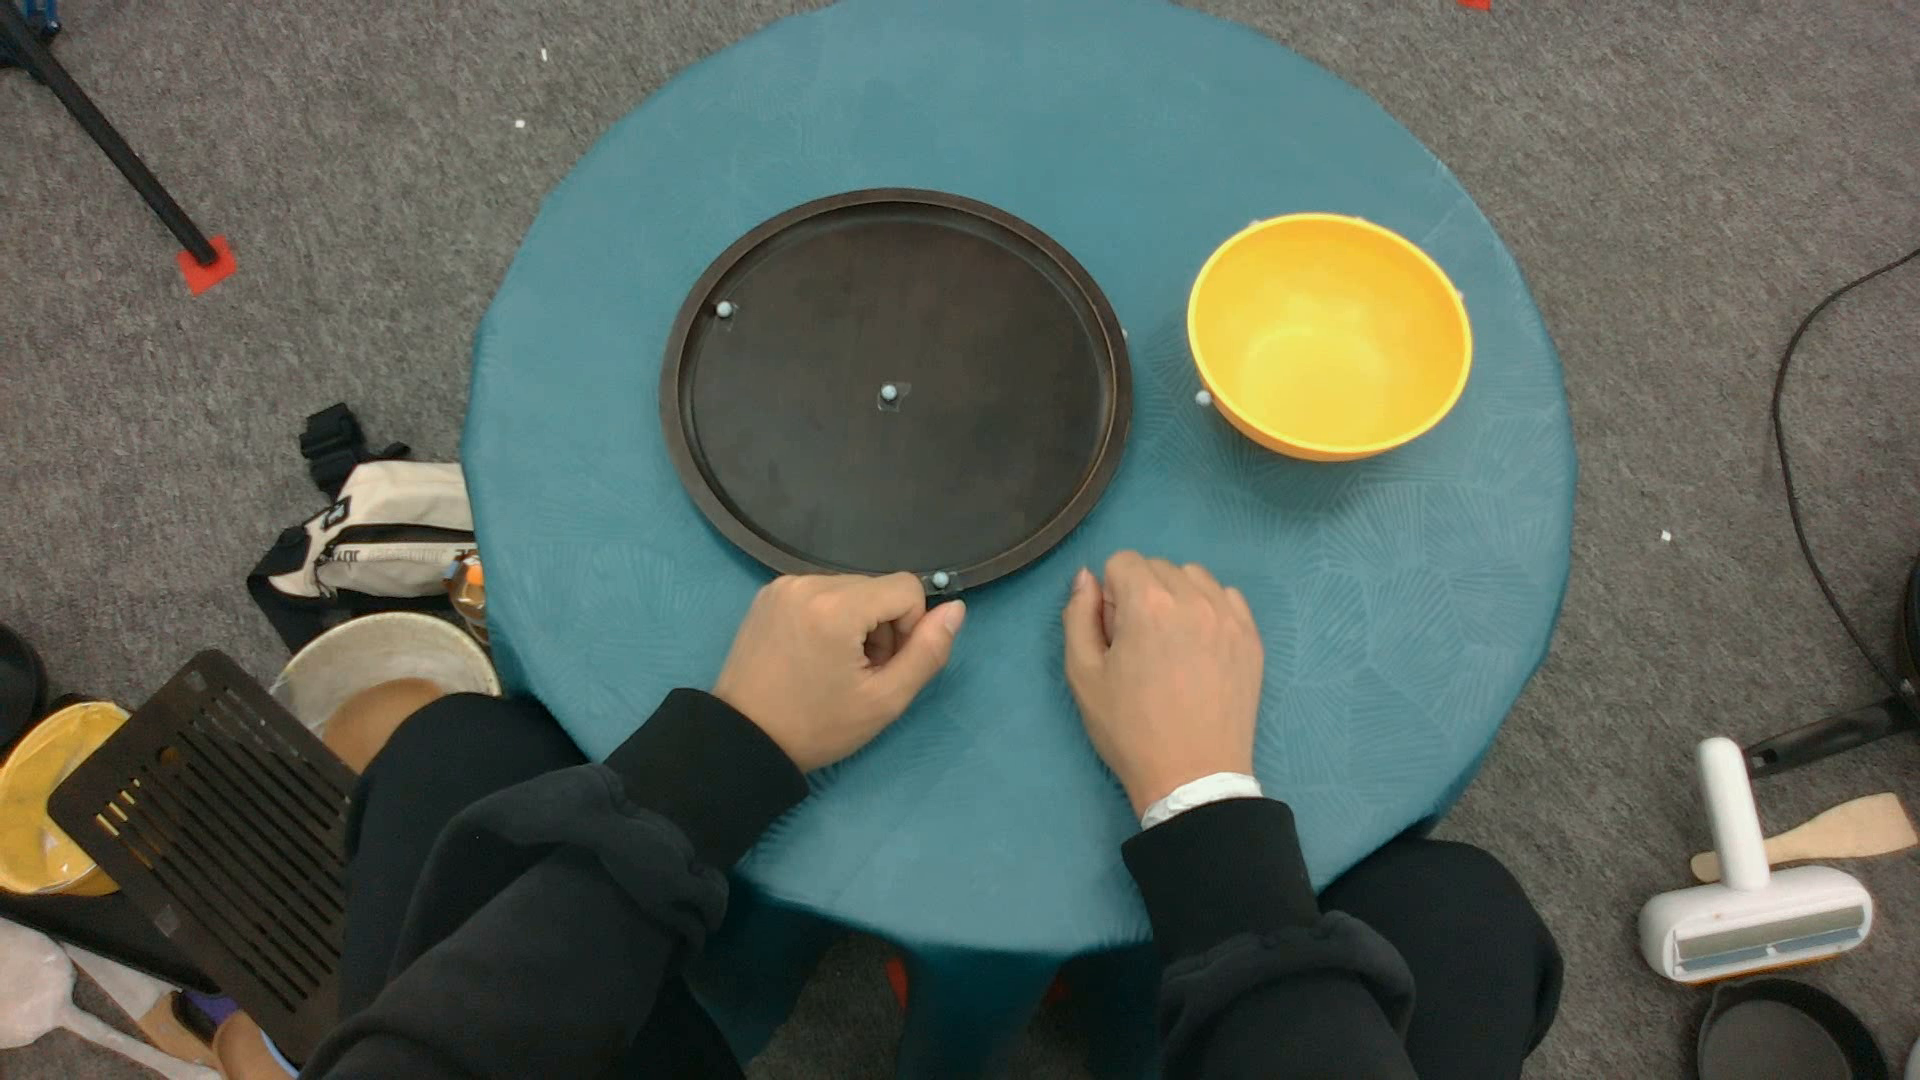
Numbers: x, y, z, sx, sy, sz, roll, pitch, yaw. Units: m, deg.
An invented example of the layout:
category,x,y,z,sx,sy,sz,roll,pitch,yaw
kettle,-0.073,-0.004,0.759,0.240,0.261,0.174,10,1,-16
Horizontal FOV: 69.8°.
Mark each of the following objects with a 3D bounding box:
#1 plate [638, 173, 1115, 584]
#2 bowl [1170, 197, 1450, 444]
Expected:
category,x,y,z,sx,sy,sz,roll,pitch,yaw
plate,-0.044,-0.092,0.739,0.255,0.029,0.255,2,67,-4
bowl,0.181,-0.108,0.739,0.145,0.060,0.146,0,68,0
